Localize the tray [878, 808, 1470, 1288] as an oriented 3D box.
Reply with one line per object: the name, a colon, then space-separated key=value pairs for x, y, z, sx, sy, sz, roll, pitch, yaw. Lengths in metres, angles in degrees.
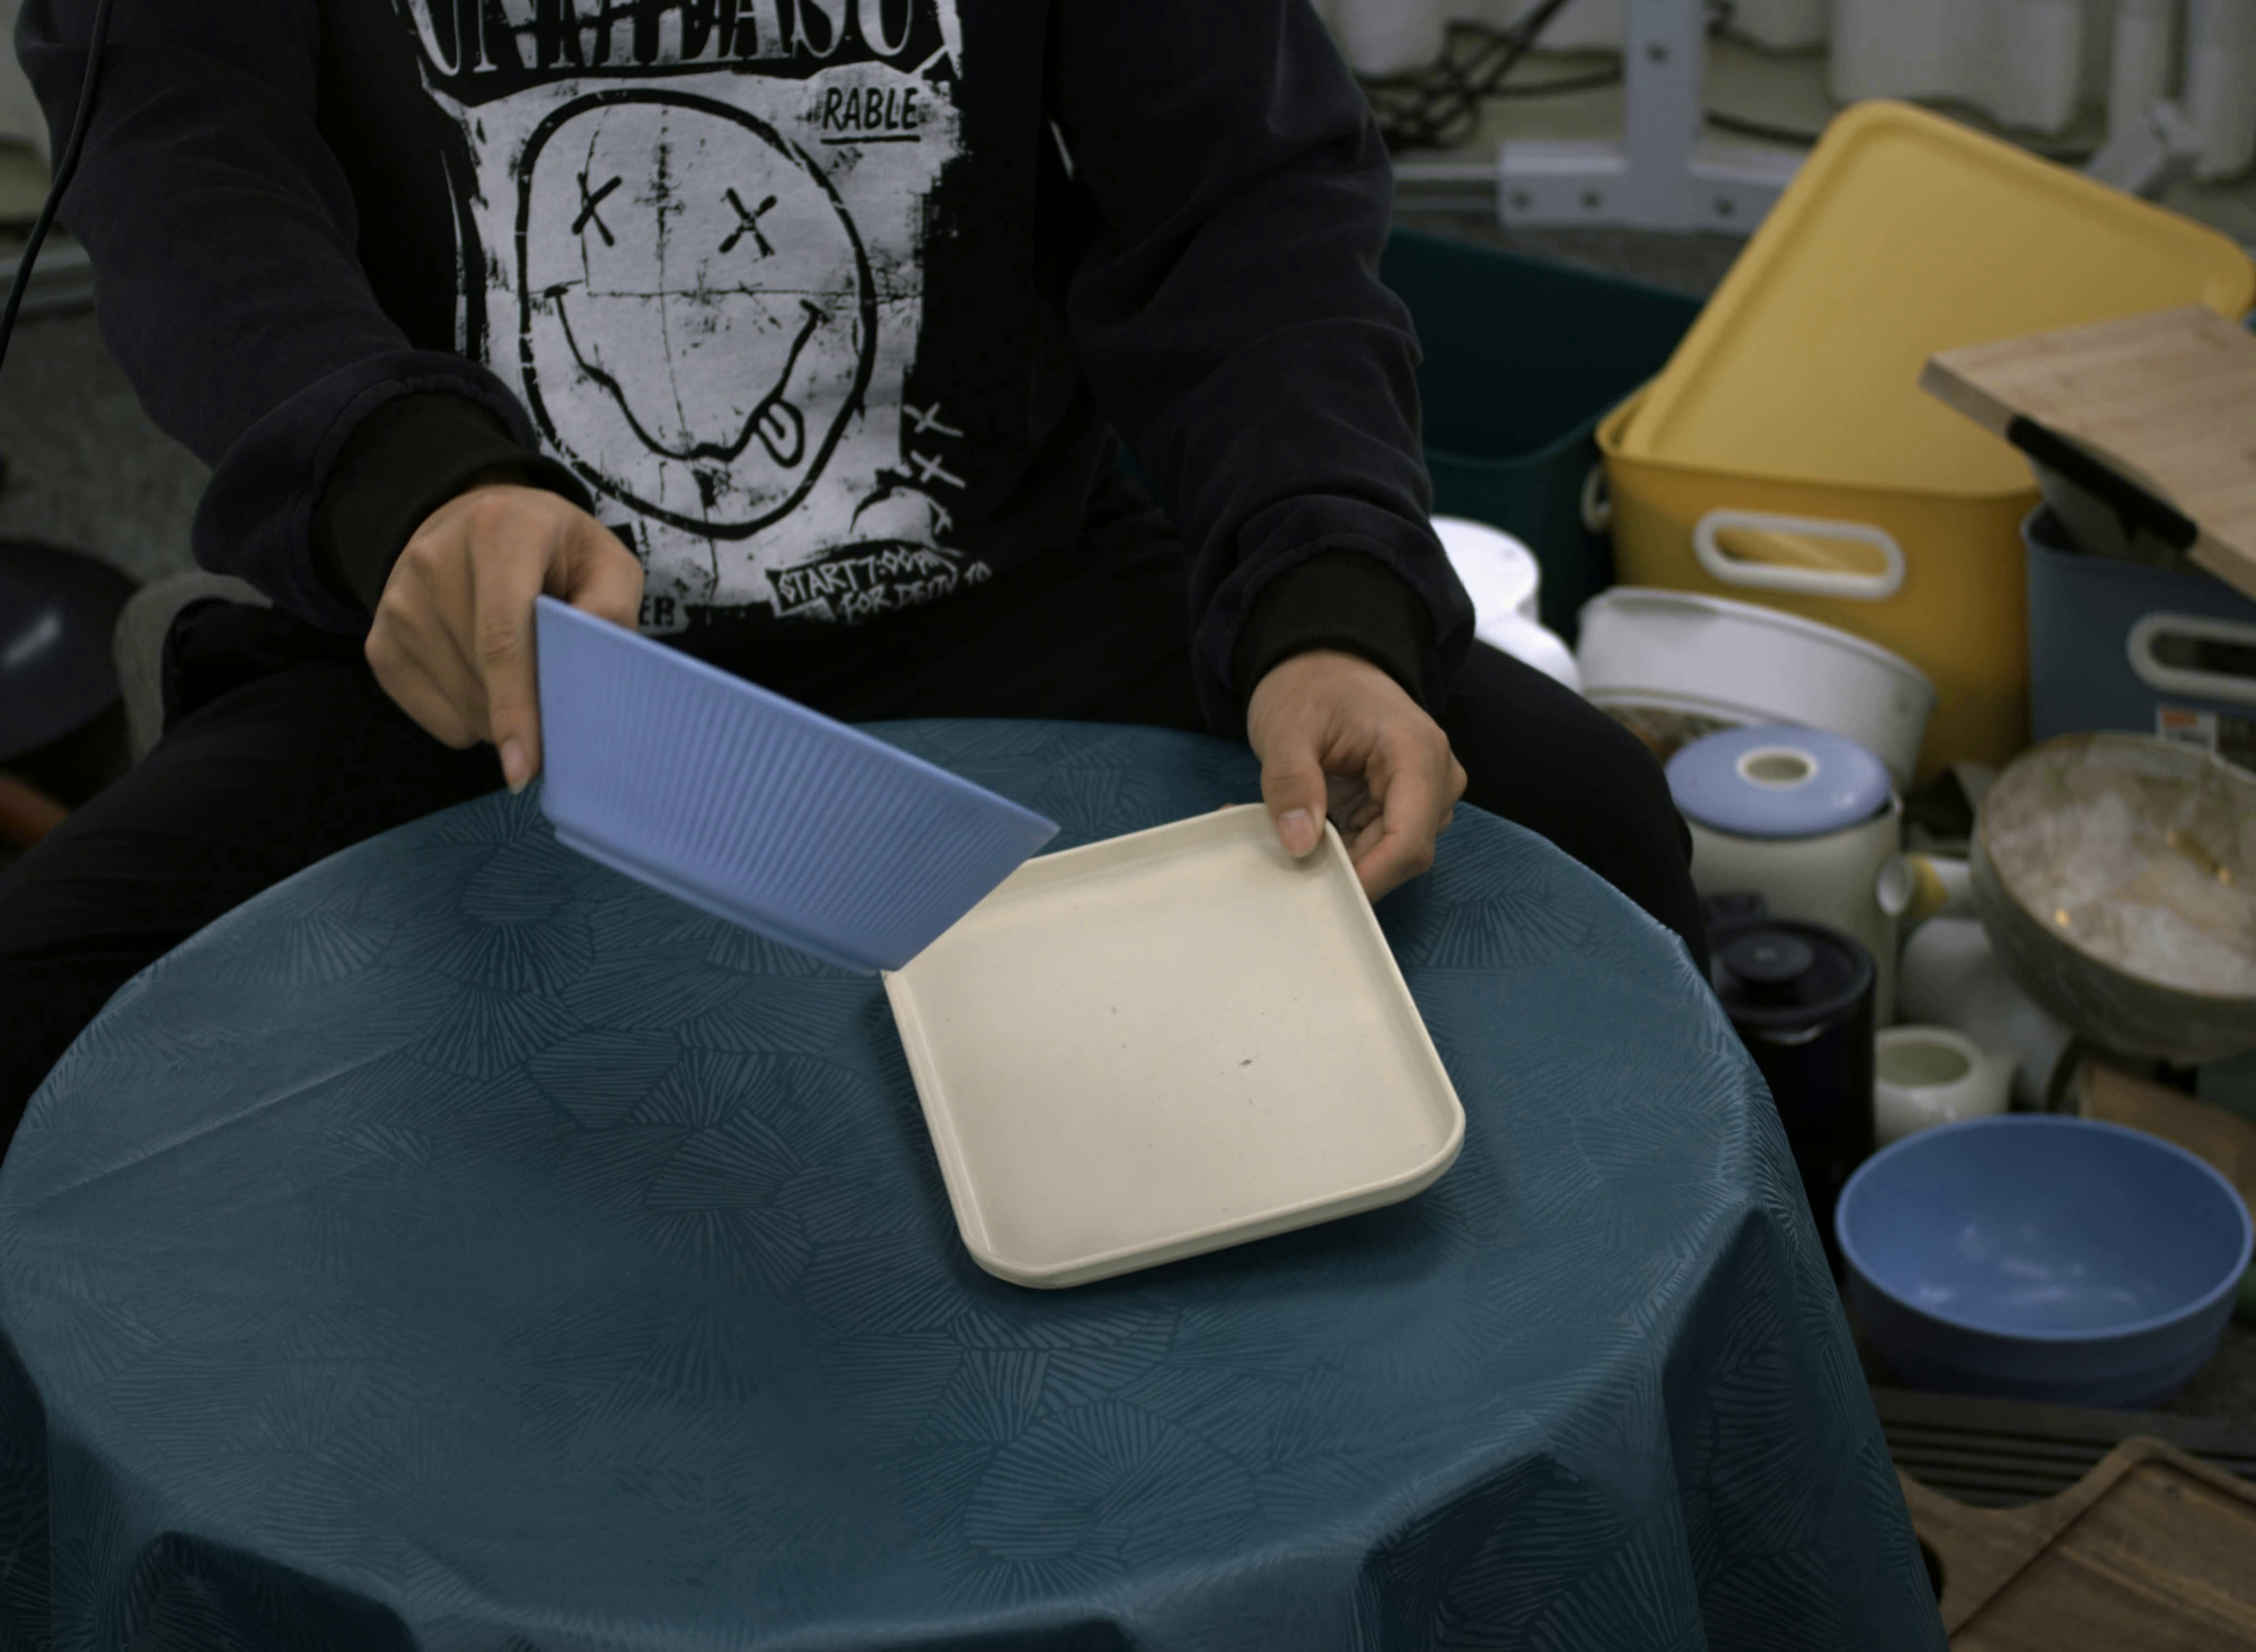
tray: x=0.012 y=0.074 z=1.903 sx=0.171 sy=0.017 sz=0.243 roll=-13 pitch=32 yaw=-6

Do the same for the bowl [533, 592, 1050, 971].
bowl: x=-0.116 y=-0.008 z=1.742 sx=0.175 sy=0.070 sz=0.176 roll=24 pitch=-2 yaw=1
